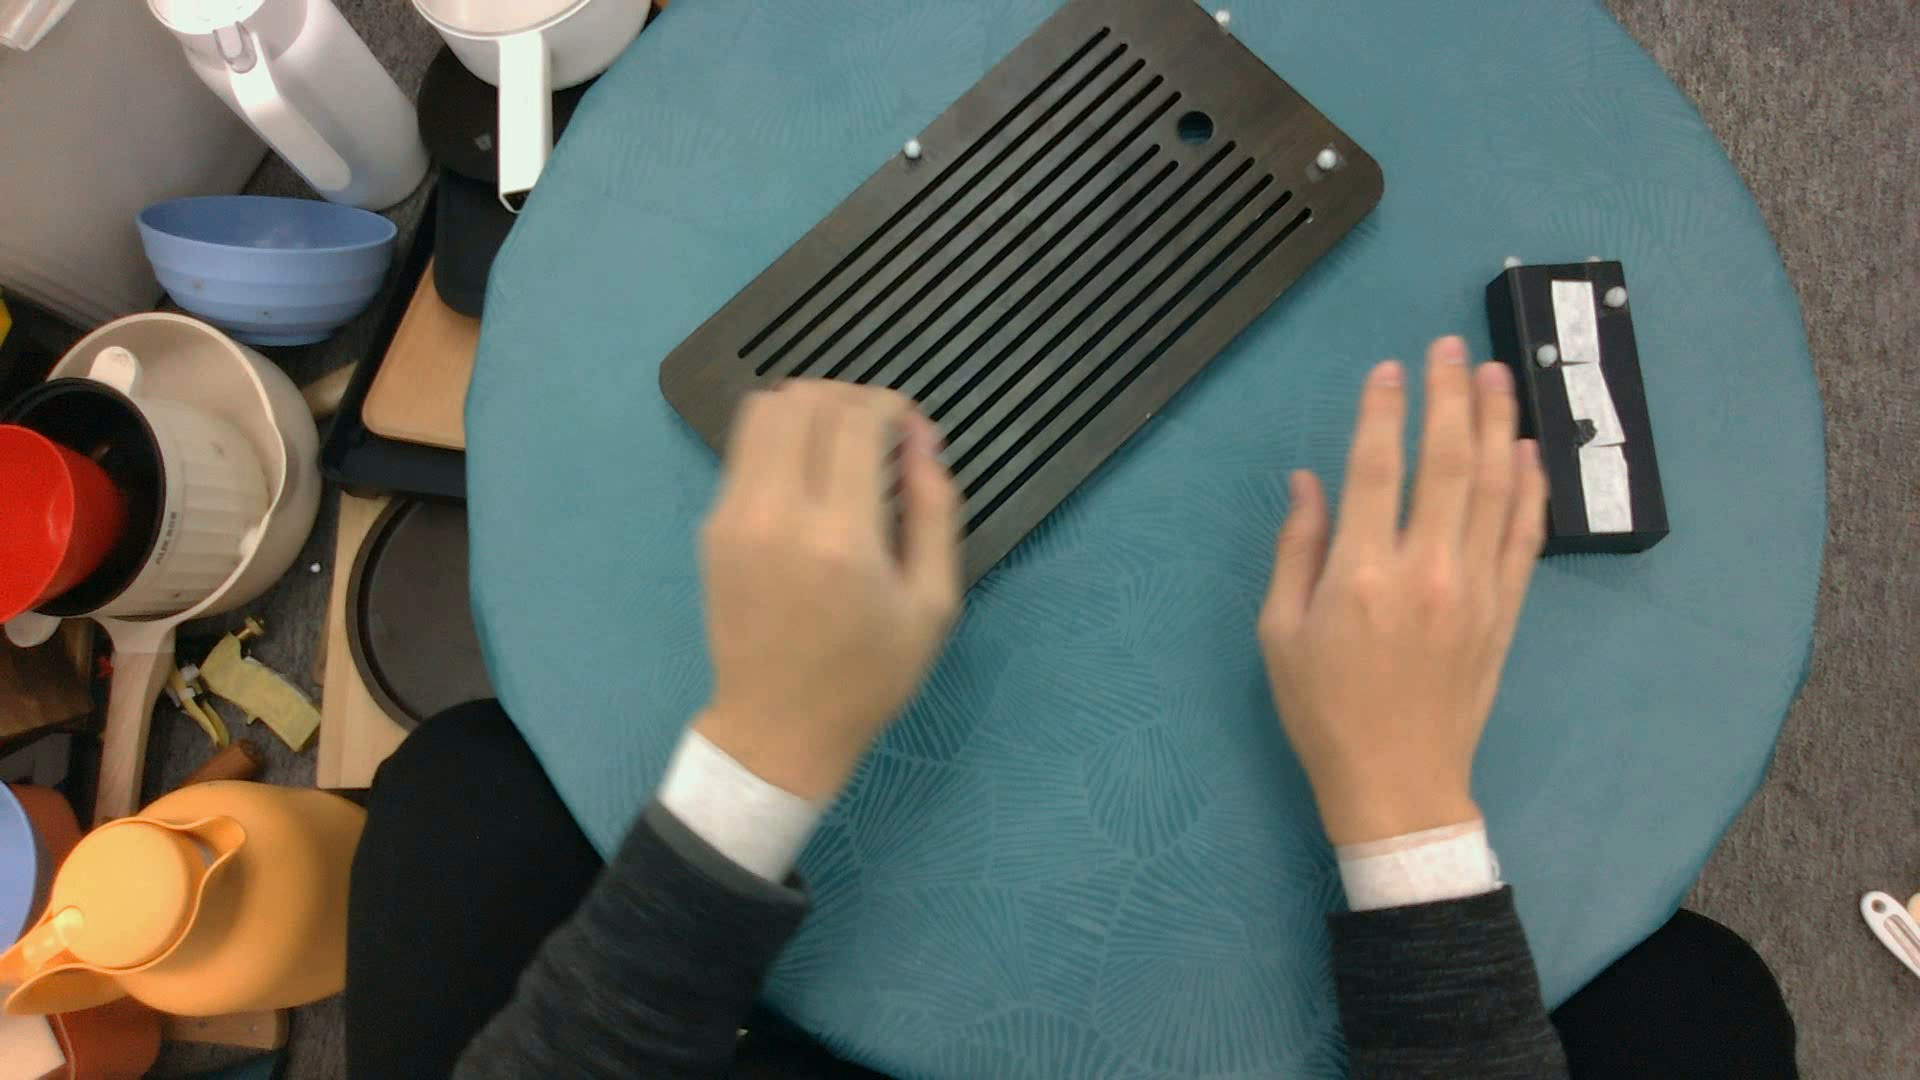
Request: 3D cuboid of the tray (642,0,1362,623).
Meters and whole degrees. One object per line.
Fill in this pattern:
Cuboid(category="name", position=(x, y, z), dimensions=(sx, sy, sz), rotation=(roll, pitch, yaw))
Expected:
Cuboid(category="tray", position=(0.021, -0.120, 0.621), dimensions=(0.306, 0.018, 0.170), rotation=(-43, 79, -9))

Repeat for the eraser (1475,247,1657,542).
Cuboid(category="eraser", position=(0.260, -0.062, 0.596), dimensions=(0.053, 0.030, 0.126), rotation=(-5, 77, 3))
